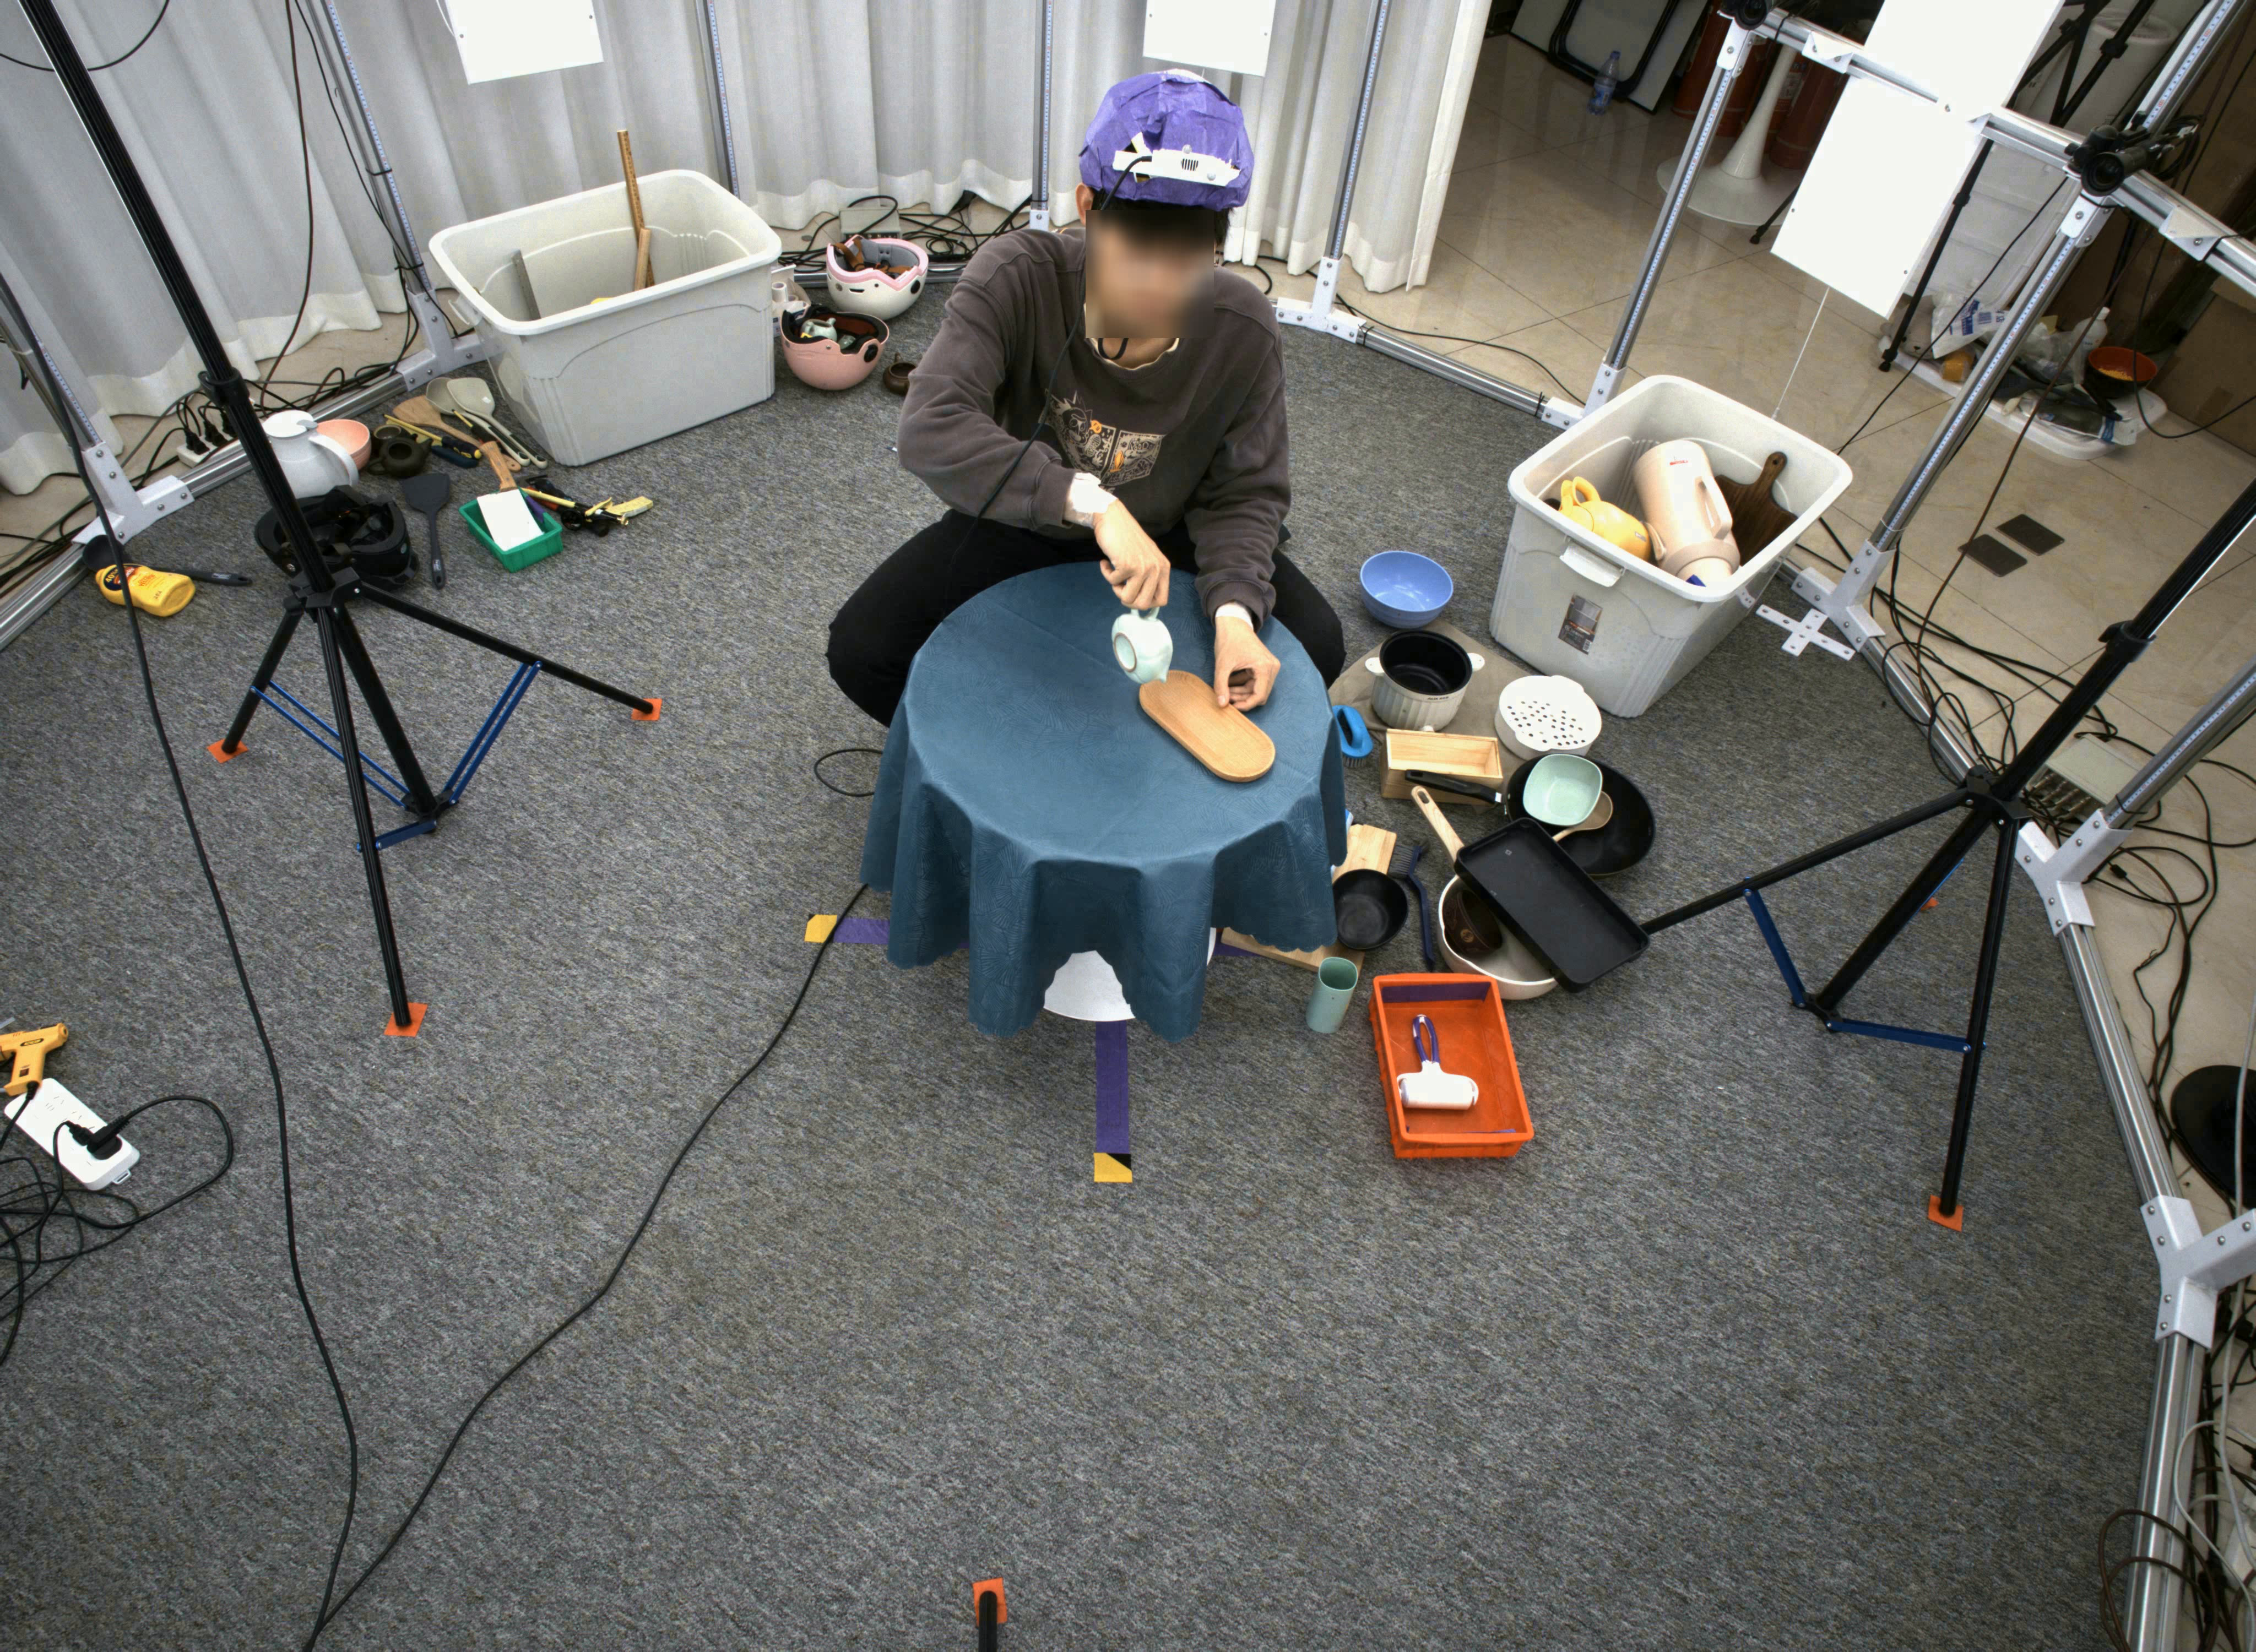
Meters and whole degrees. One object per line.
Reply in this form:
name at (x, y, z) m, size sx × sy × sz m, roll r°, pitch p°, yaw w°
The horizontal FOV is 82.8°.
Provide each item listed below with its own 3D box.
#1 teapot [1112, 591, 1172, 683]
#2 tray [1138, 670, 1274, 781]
teapot at (0.020, -0.244, 1.701) m, size 0.061 × 0.134 × 0.098 m, roll -20°, pitch 36°, yaw -24°
tray at (0.106, -0.142, 1.784) m, size 0.102 × 0.020 × 0.235 m, roll -31°, pitch 56°, yaw -27°
